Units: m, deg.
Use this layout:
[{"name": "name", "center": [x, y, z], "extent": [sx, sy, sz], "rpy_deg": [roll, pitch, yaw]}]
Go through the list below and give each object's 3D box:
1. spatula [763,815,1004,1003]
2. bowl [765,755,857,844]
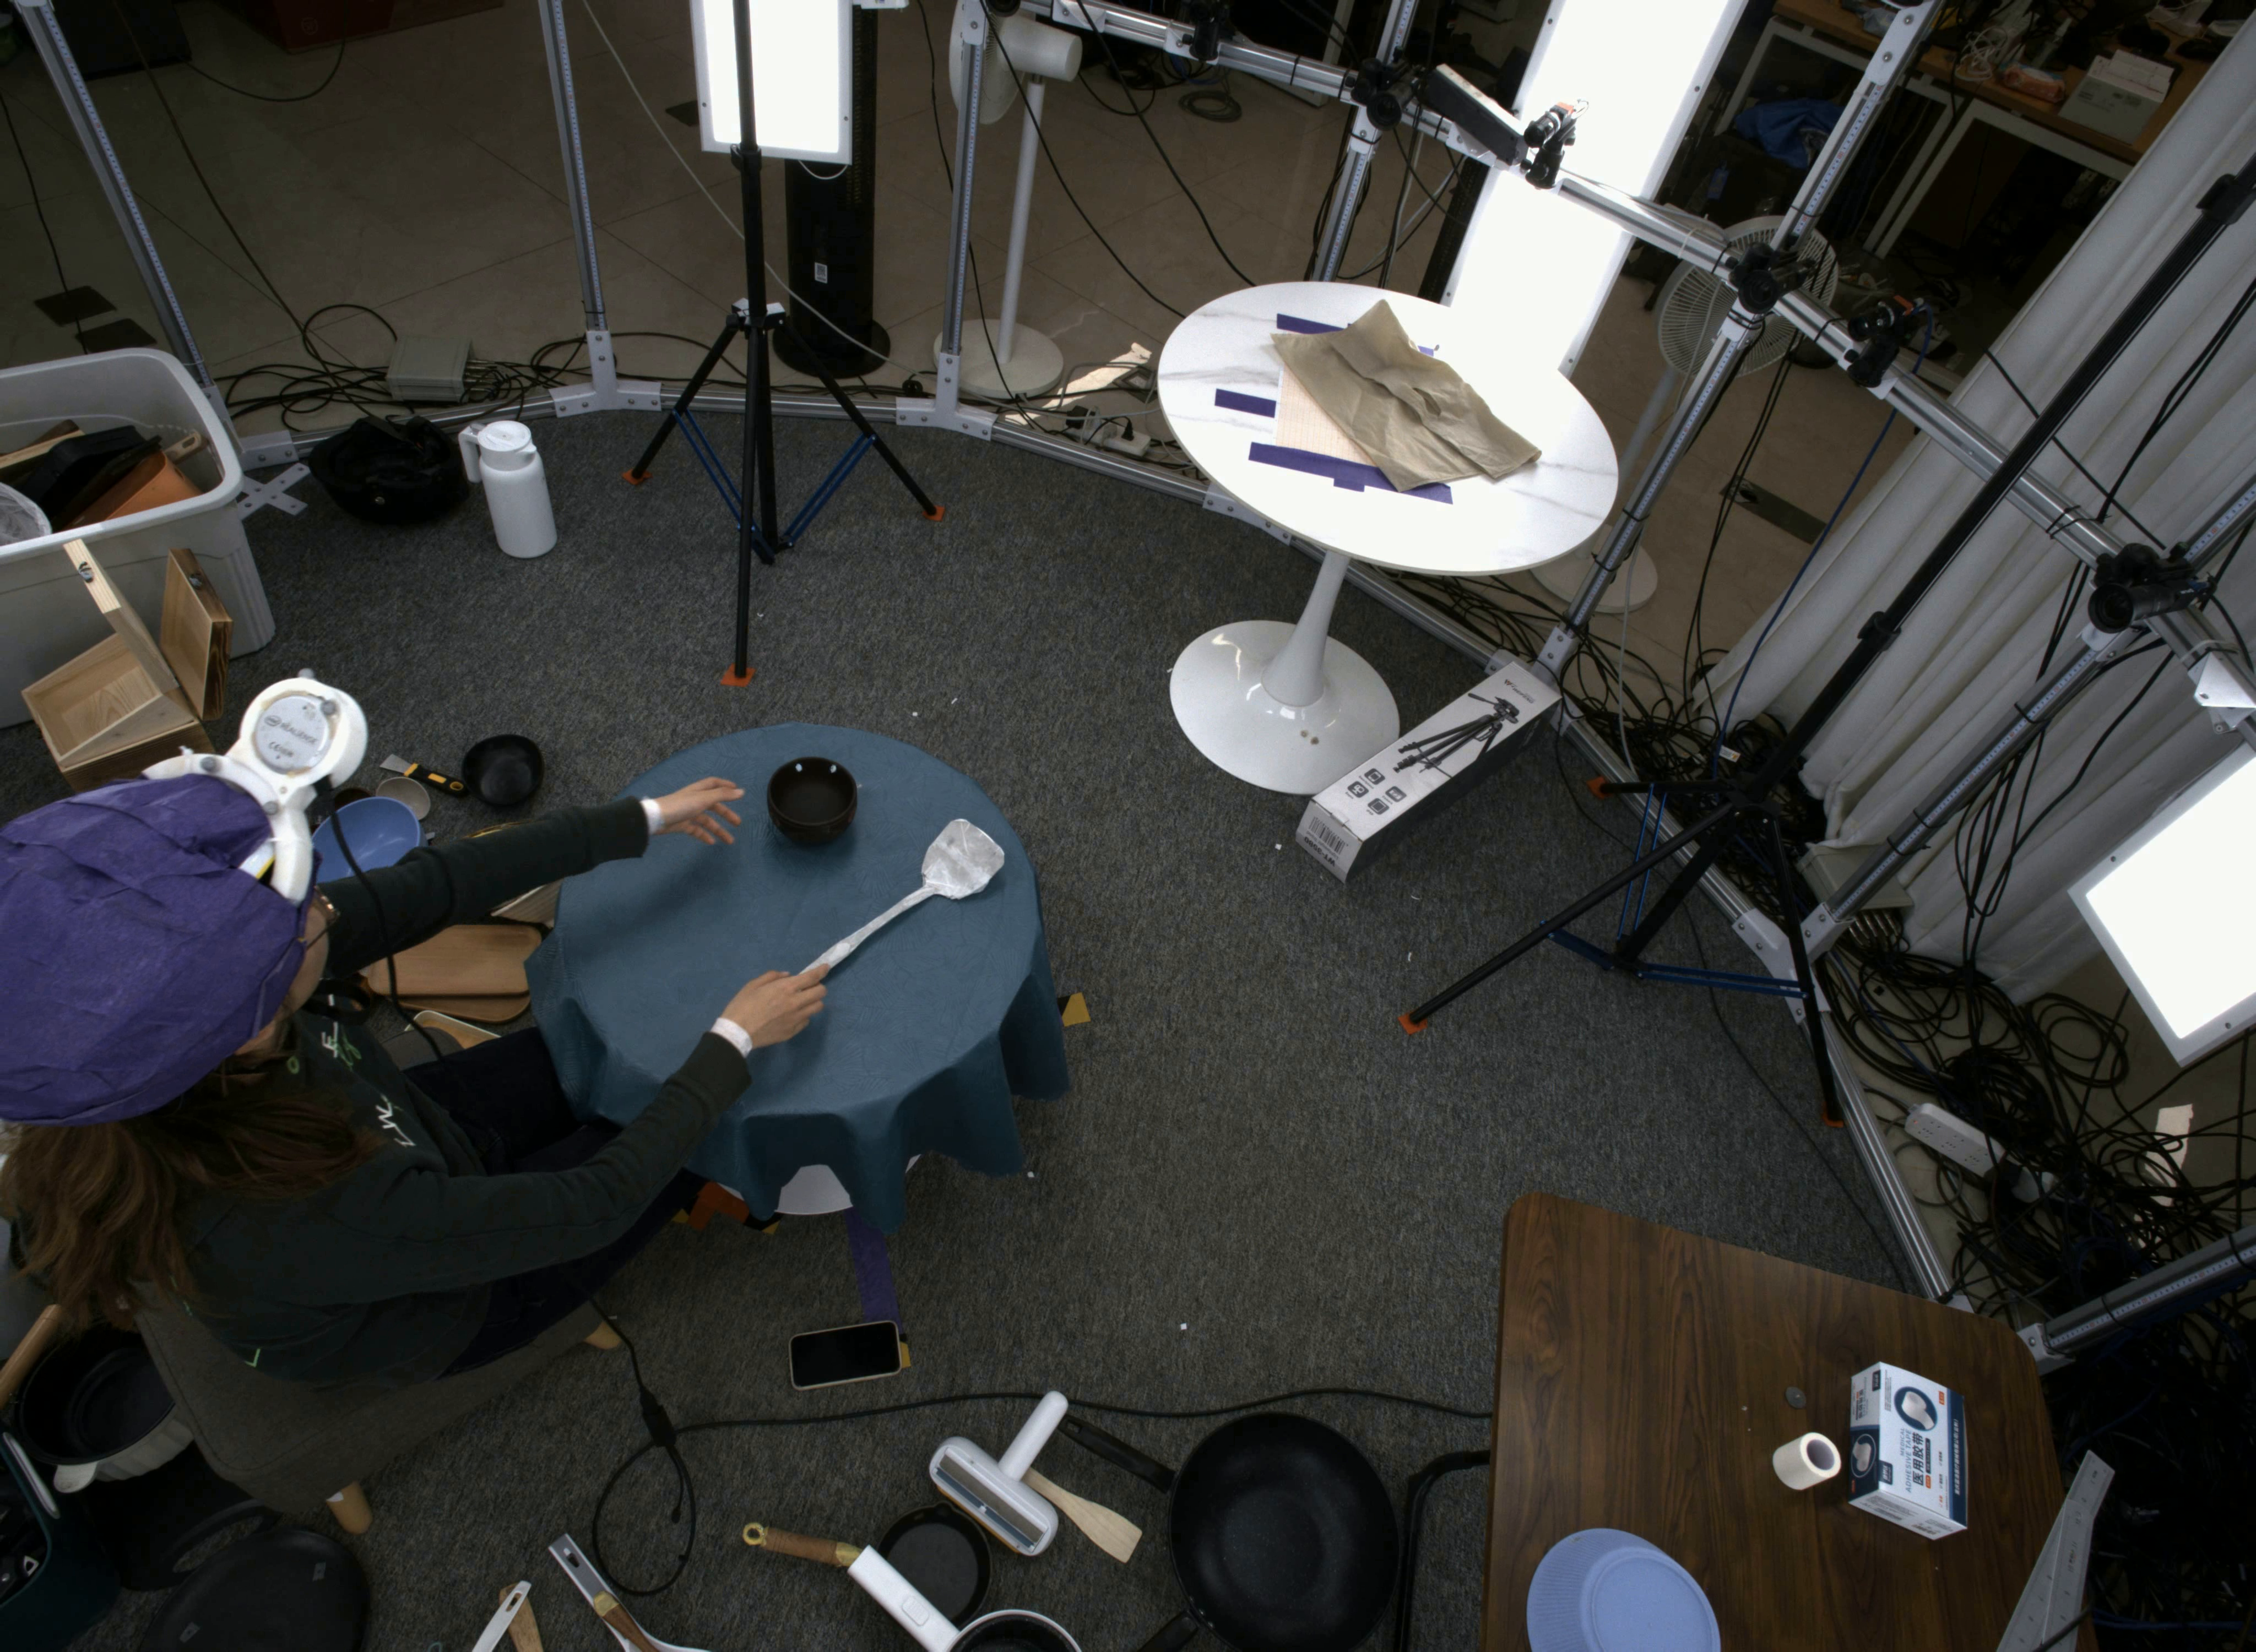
[{"name": "spatula", "center": [-0.312, 0.111, 1.651], "extent": [0.097, 0.045, 0.365], "rpy_deg": [42, 55, 15]}, {"name": "bowl", "center": [-0.416, -0.028, 1.706], "extent": [0.117, 0.071, 0.116], "rpy_deg": [6, 52, -7]}]
